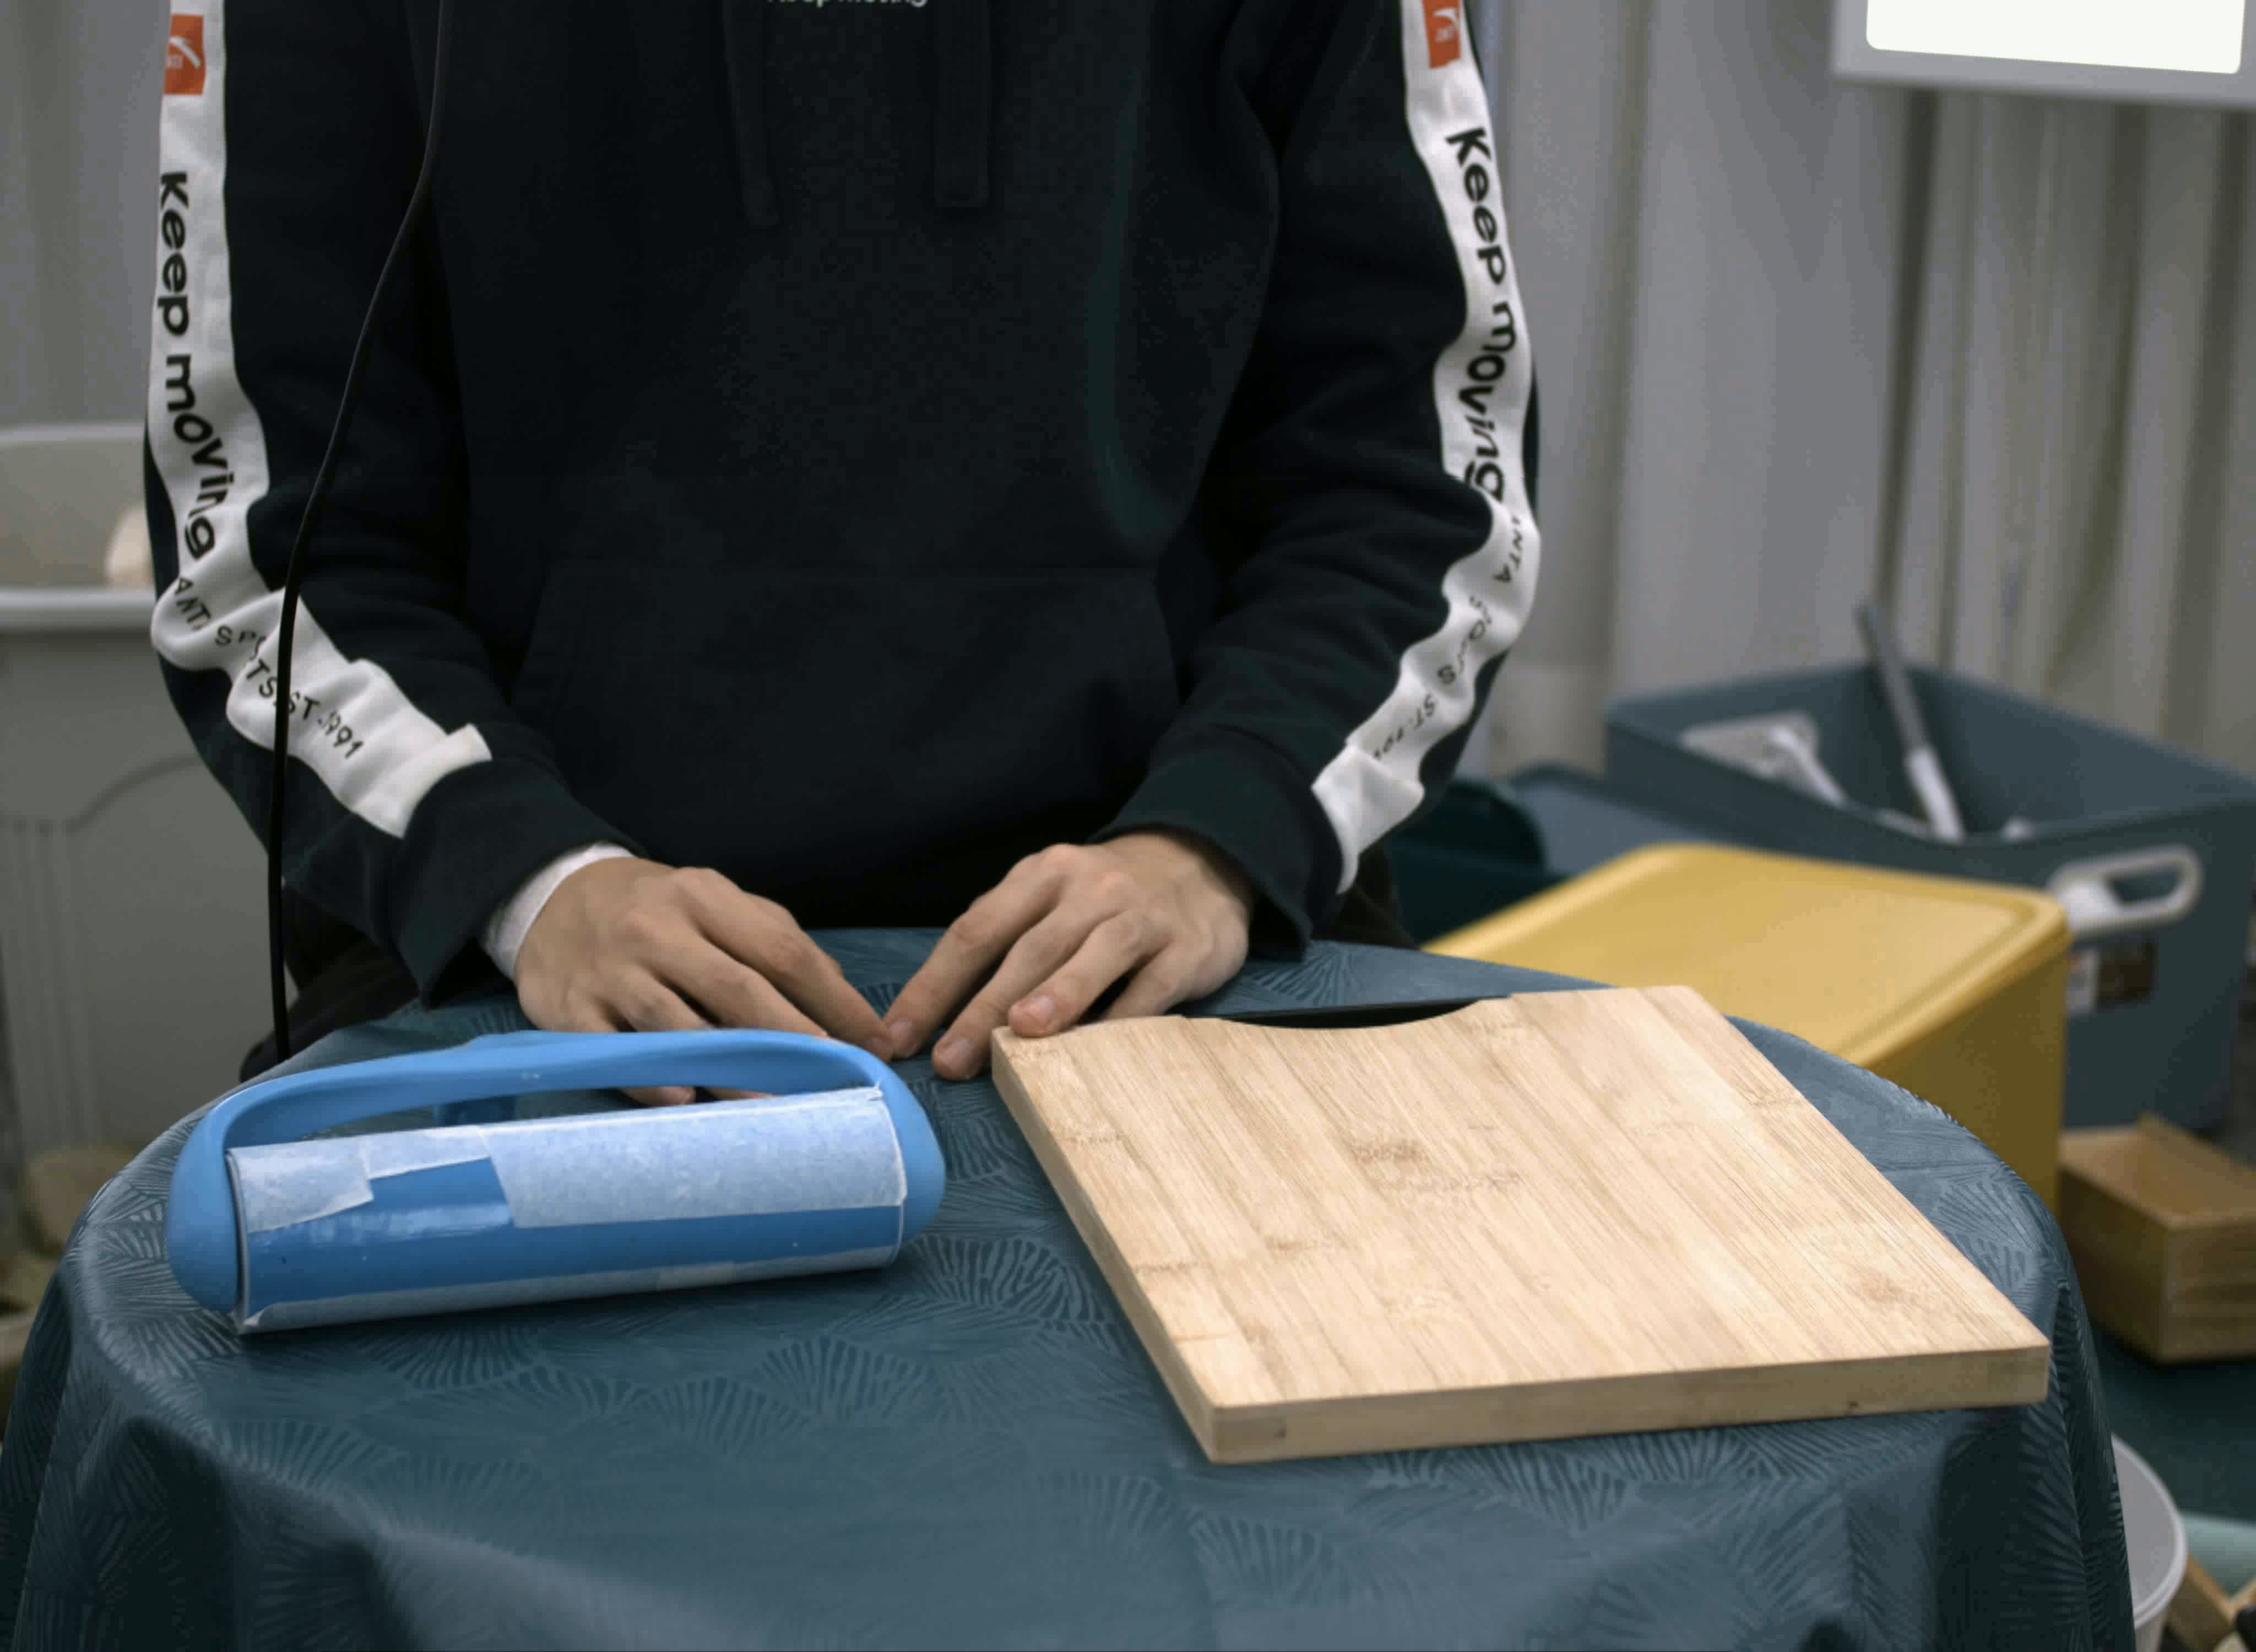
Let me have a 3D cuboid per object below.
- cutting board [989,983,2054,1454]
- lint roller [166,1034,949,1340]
[{"bbox_3d":[0.105,0.112,1.593,0.251,0.024,0.345,-3,16,-12],"label":"cutting board"},{"bbox_3d":[-0.183,0.094,1.572,0.229,0.068,0.178,-7,18,-20],"label":"lint roller"}]
